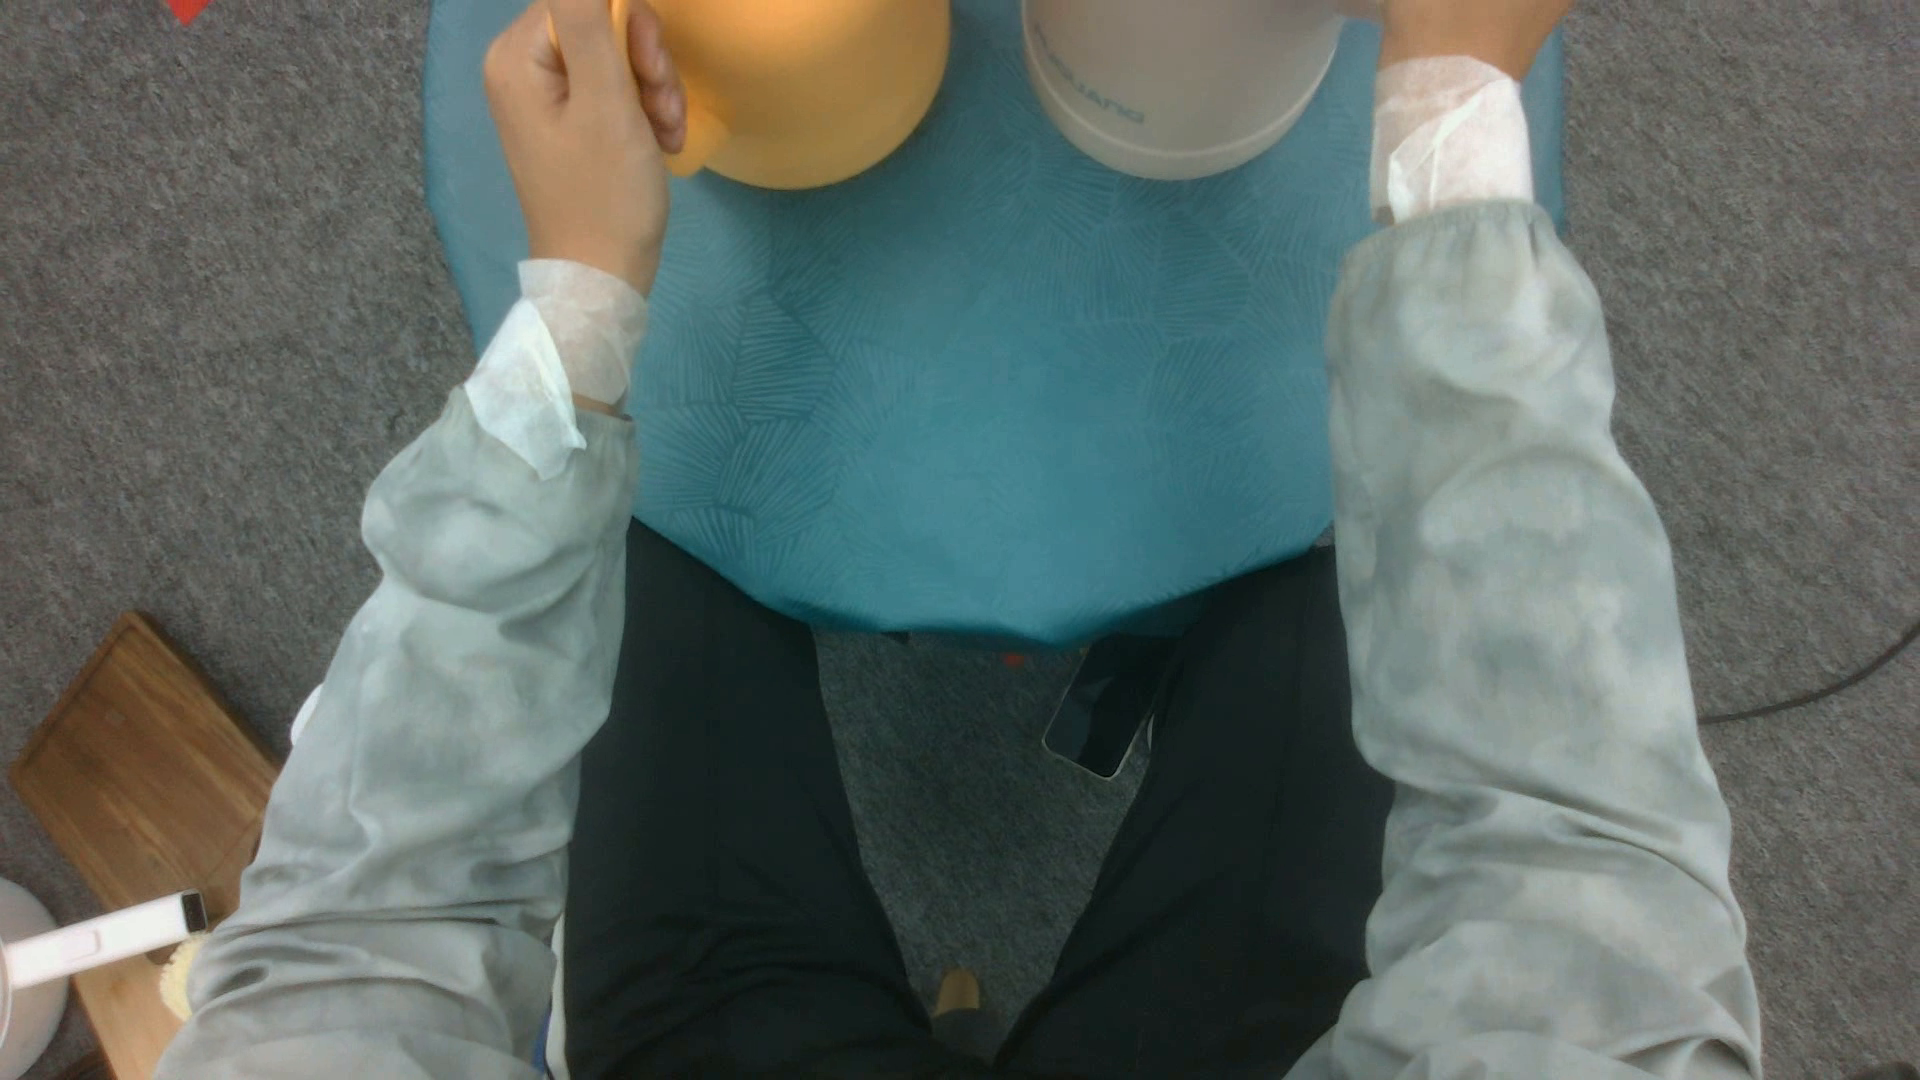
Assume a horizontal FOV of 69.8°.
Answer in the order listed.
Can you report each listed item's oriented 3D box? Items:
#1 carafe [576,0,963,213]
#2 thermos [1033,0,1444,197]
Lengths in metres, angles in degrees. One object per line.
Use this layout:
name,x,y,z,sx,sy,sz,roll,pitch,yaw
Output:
carafe,-0.095,-0.247,0.618,0.163,0.260,0.202,22,82,8
thermos,0.117,-0.277,0.543,0.207,0.406,0.175,35,84,8
